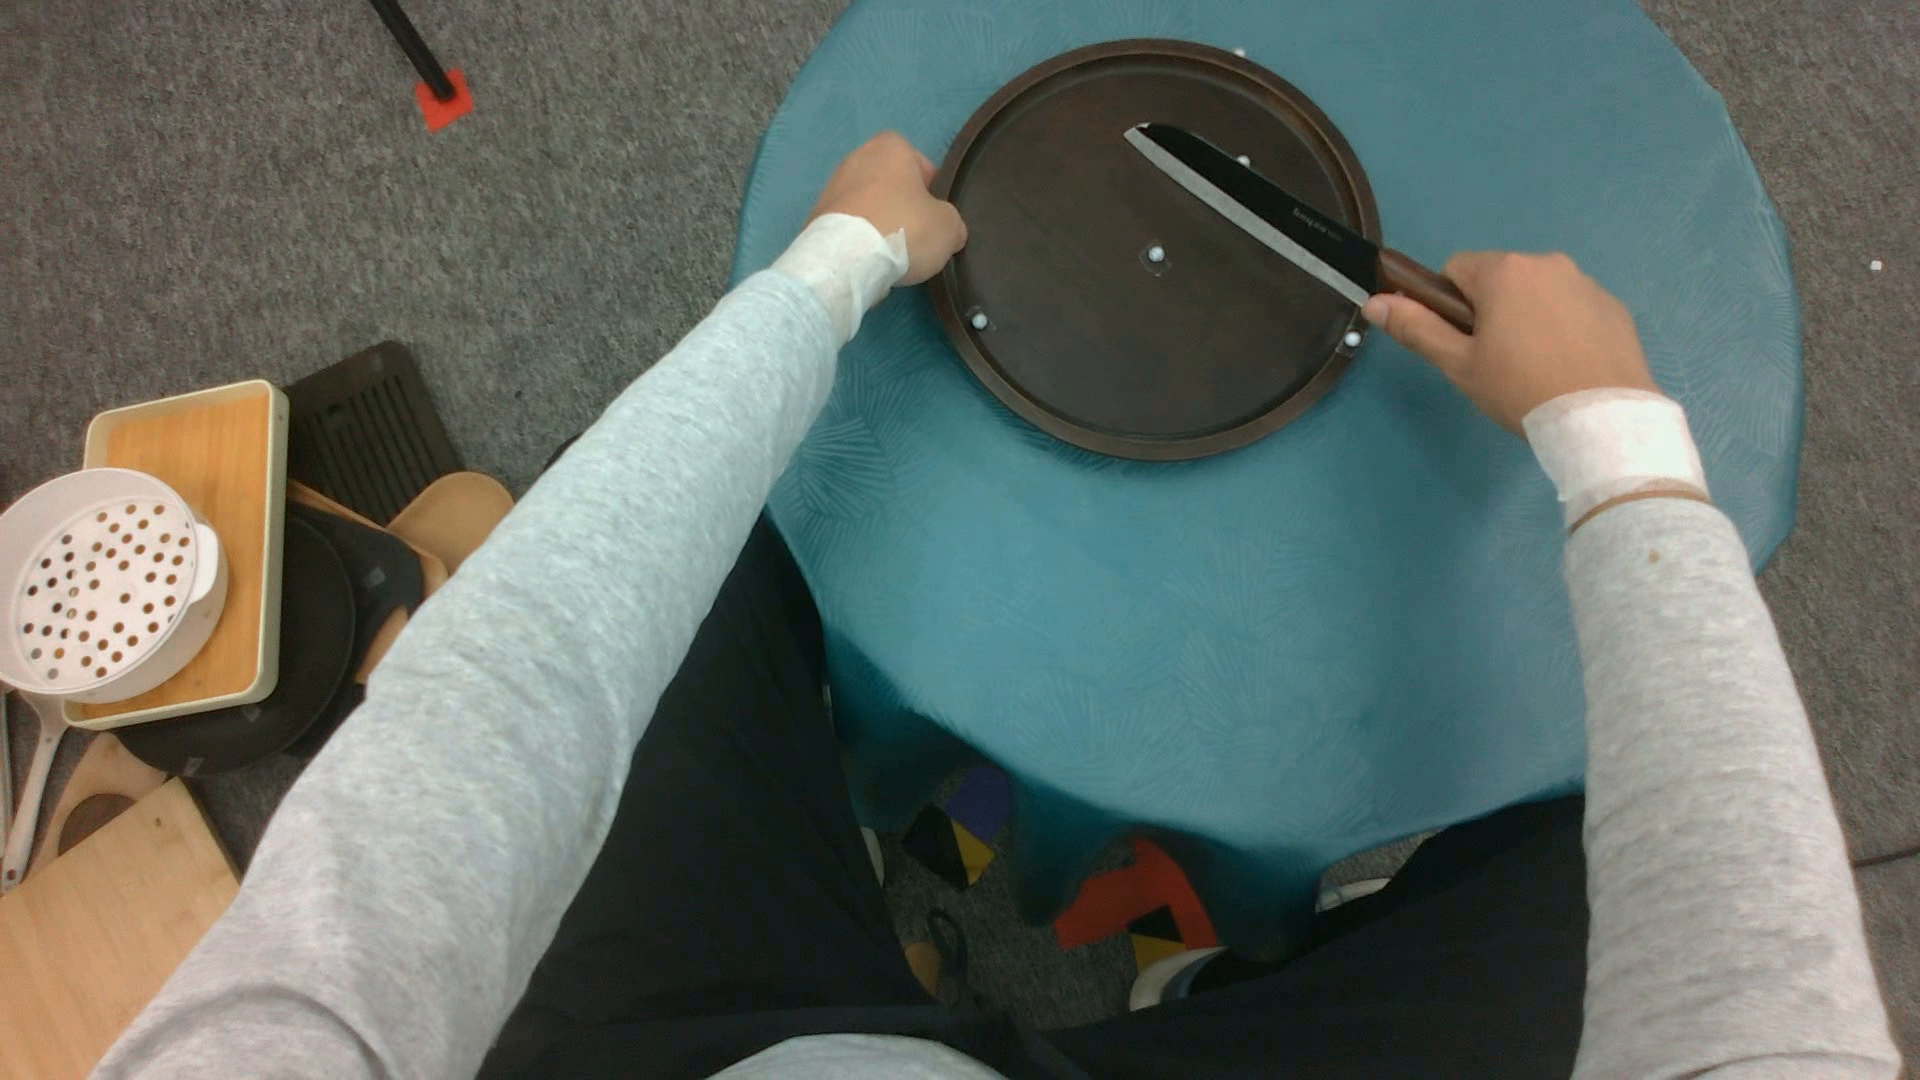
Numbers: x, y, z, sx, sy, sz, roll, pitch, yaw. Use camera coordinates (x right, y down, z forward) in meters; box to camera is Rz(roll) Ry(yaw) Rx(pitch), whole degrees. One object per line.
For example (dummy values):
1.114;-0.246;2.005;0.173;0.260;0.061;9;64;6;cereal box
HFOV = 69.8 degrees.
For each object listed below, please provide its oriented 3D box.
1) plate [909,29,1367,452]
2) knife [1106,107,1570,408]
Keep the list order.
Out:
0.098;-0.169;0.767;0.255;0.029;0.255;1;77;-2;plate
0.190;-0.155;0.729;0.289;0.050;0.020;38;66;19;knife
